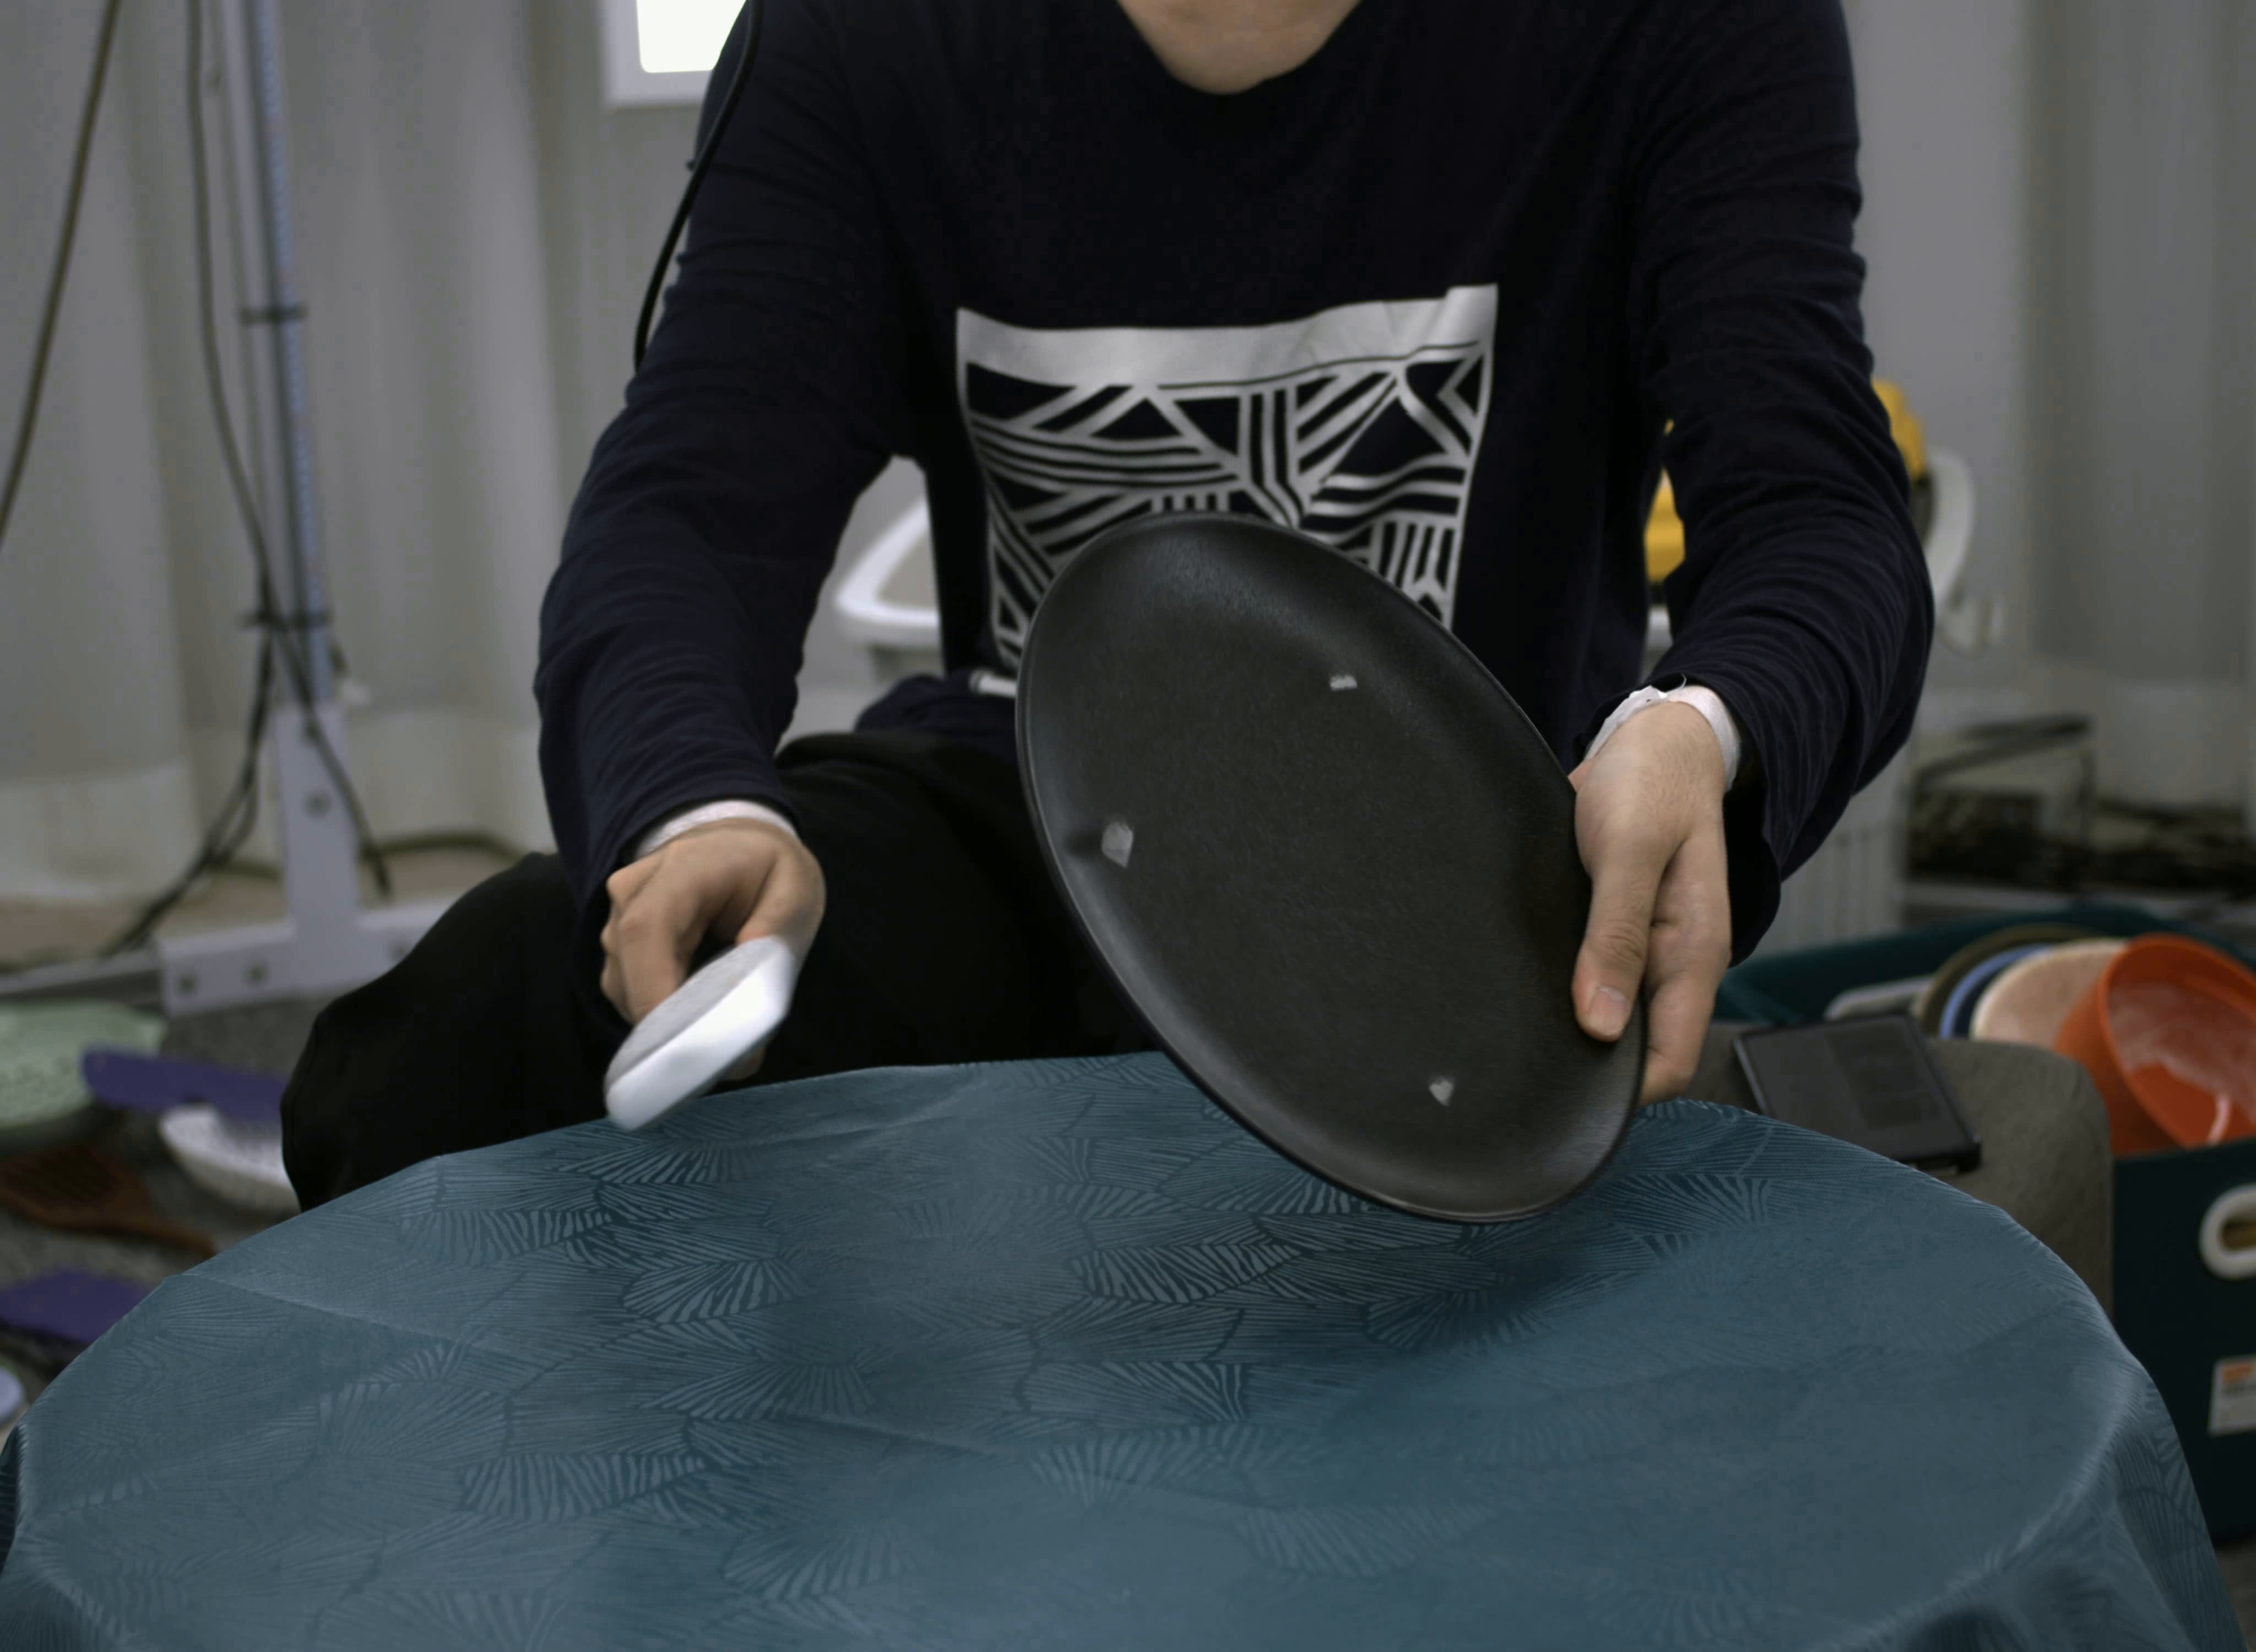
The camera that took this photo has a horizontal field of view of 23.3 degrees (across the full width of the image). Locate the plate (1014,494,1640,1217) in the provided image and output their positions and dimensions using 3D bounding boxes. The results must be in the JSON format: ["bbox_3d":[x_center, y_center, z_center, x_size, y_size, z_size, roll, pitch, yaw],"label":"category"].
[{"bbox_3d":[0.057,0.010,1.633,0.023,0.246,0.244,-38,-11,38],"label":"plate"}]

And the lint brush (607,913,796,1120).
[{"bbox_3d":[-0.123,0.050,1.634,0.060,0.021,0.309,-41,4,1],"label":"lint brush"}]
